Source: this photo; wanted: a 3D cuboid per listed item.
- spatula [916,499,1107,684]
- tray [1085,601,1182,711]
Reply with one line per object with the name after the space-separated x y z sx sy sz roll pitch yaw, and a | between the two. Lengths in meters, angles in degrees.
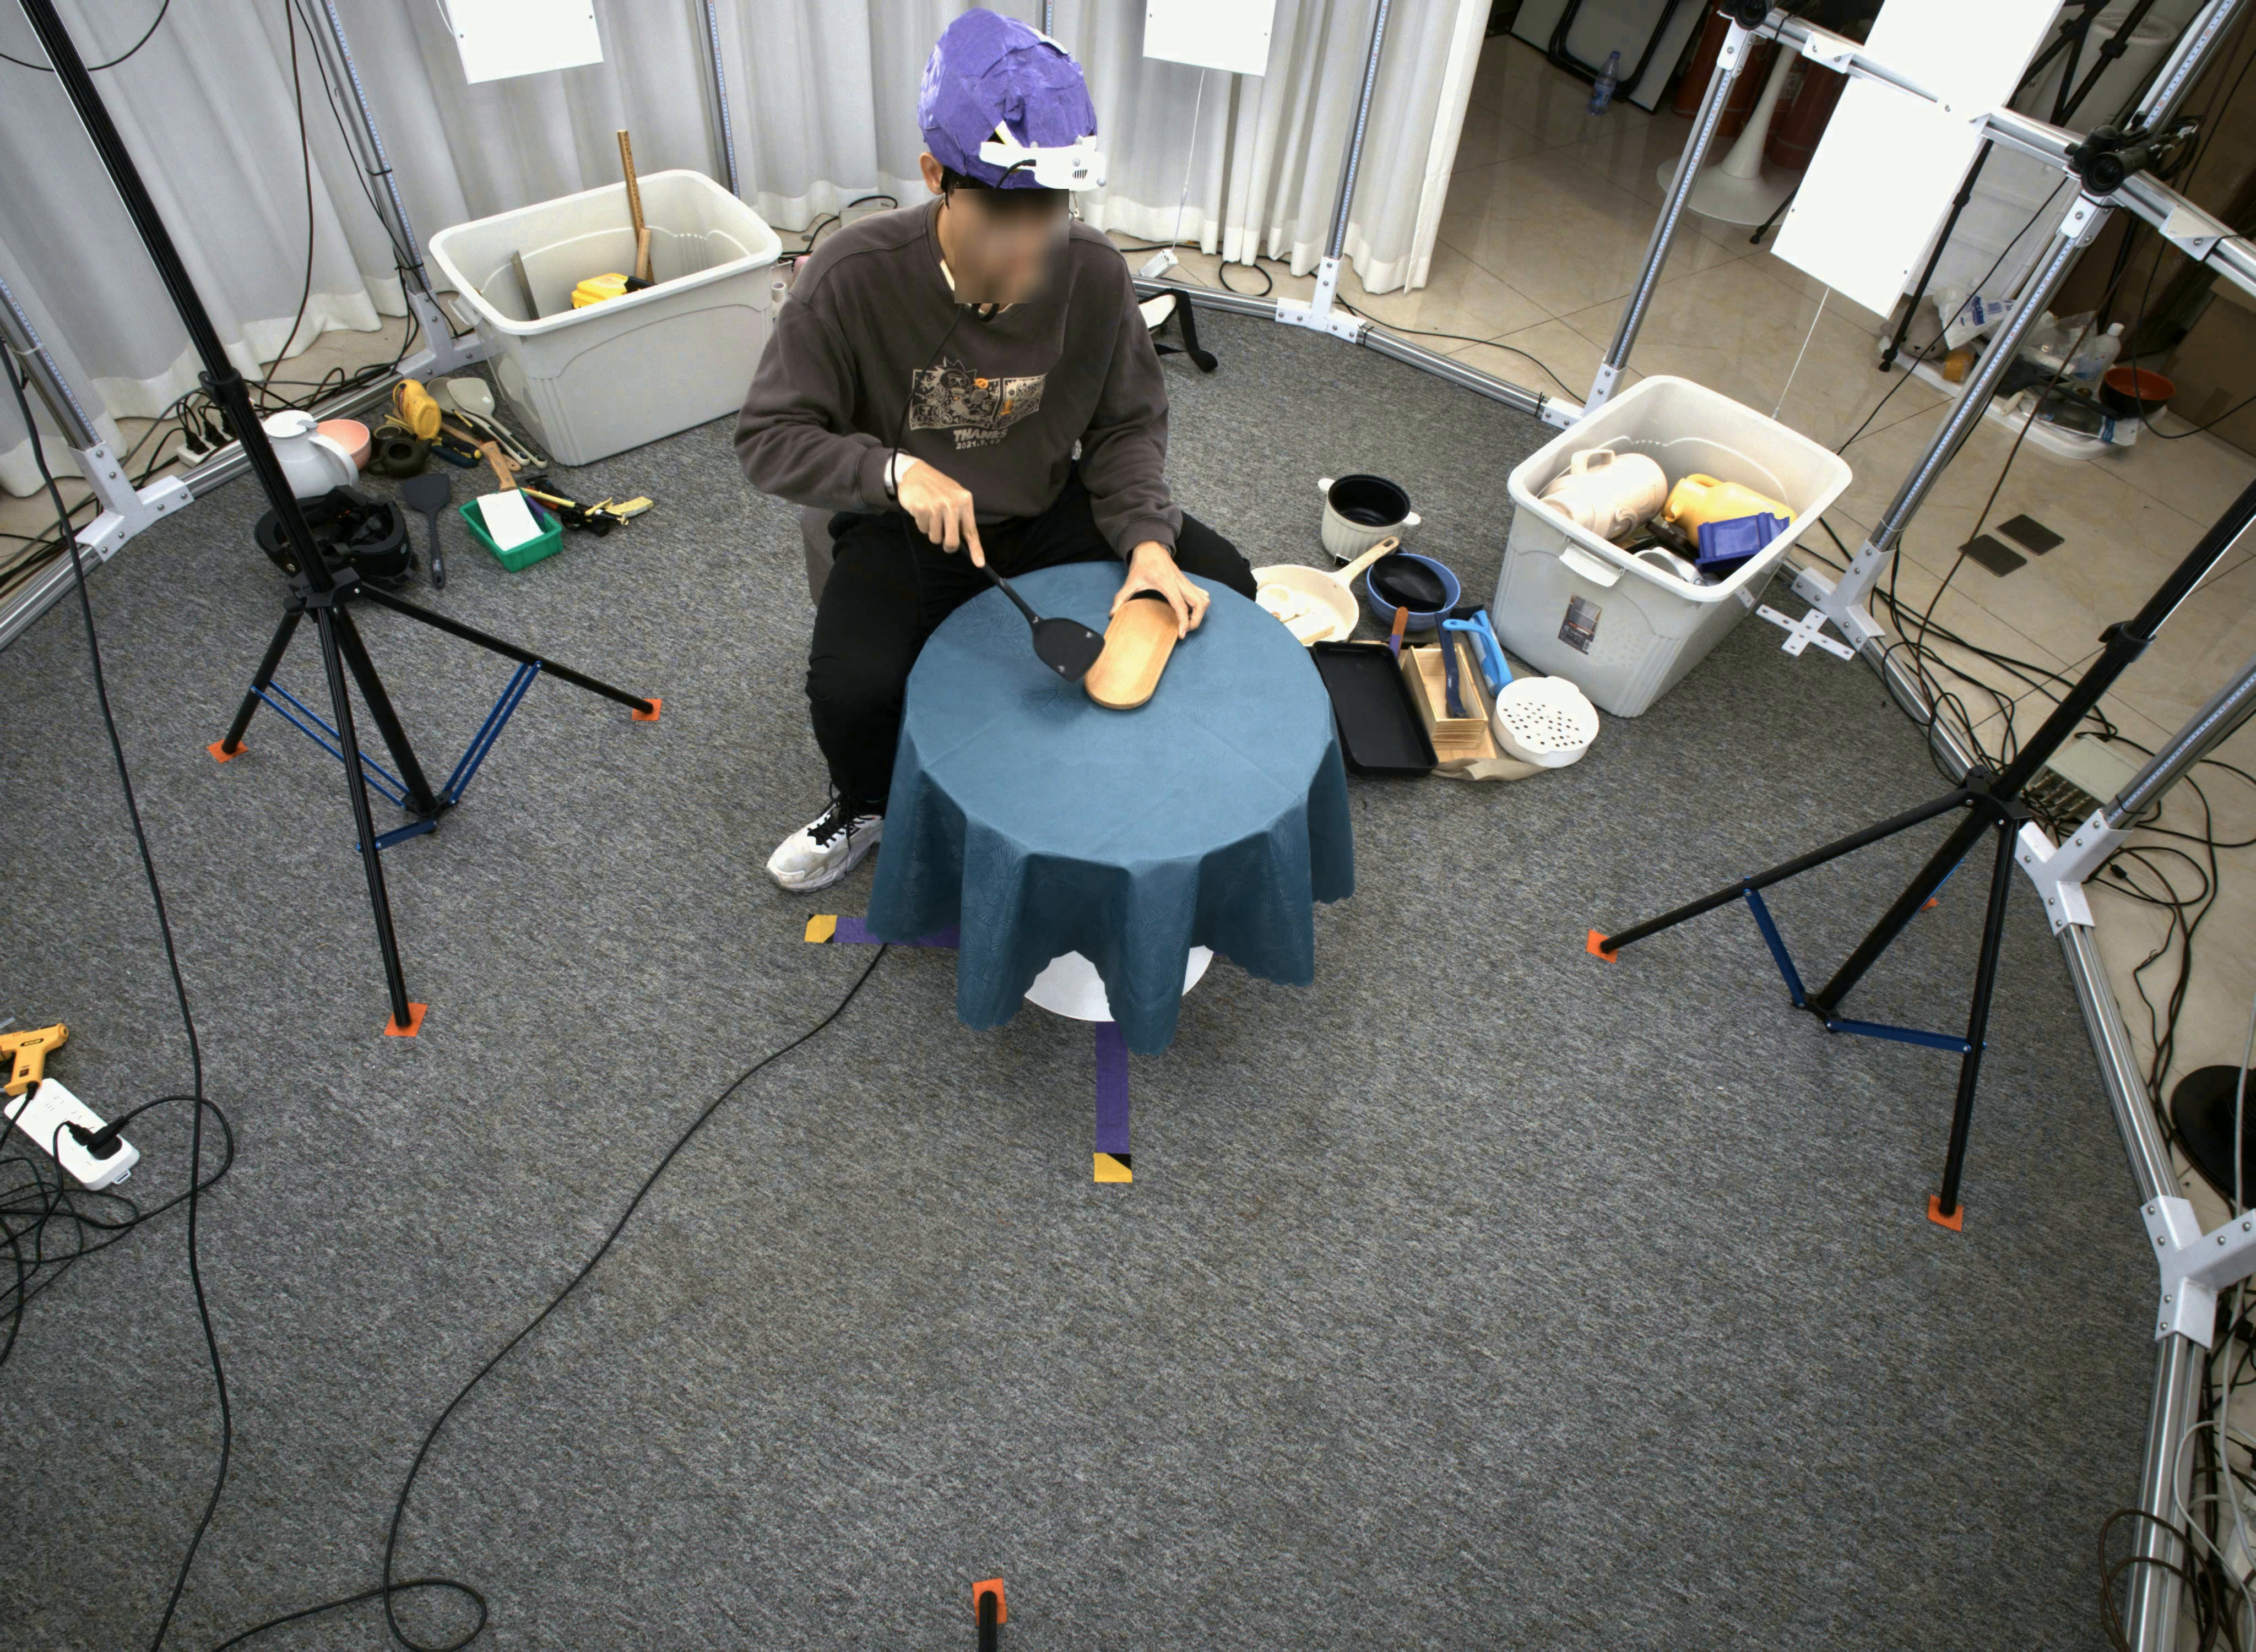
-0.166 -0.331 1.772 0.323 0.040 0.101 45 54 -14 | spatula
0.009 -0.250 1.873 0.102 0.020 0.236 15 51 11 | tray
